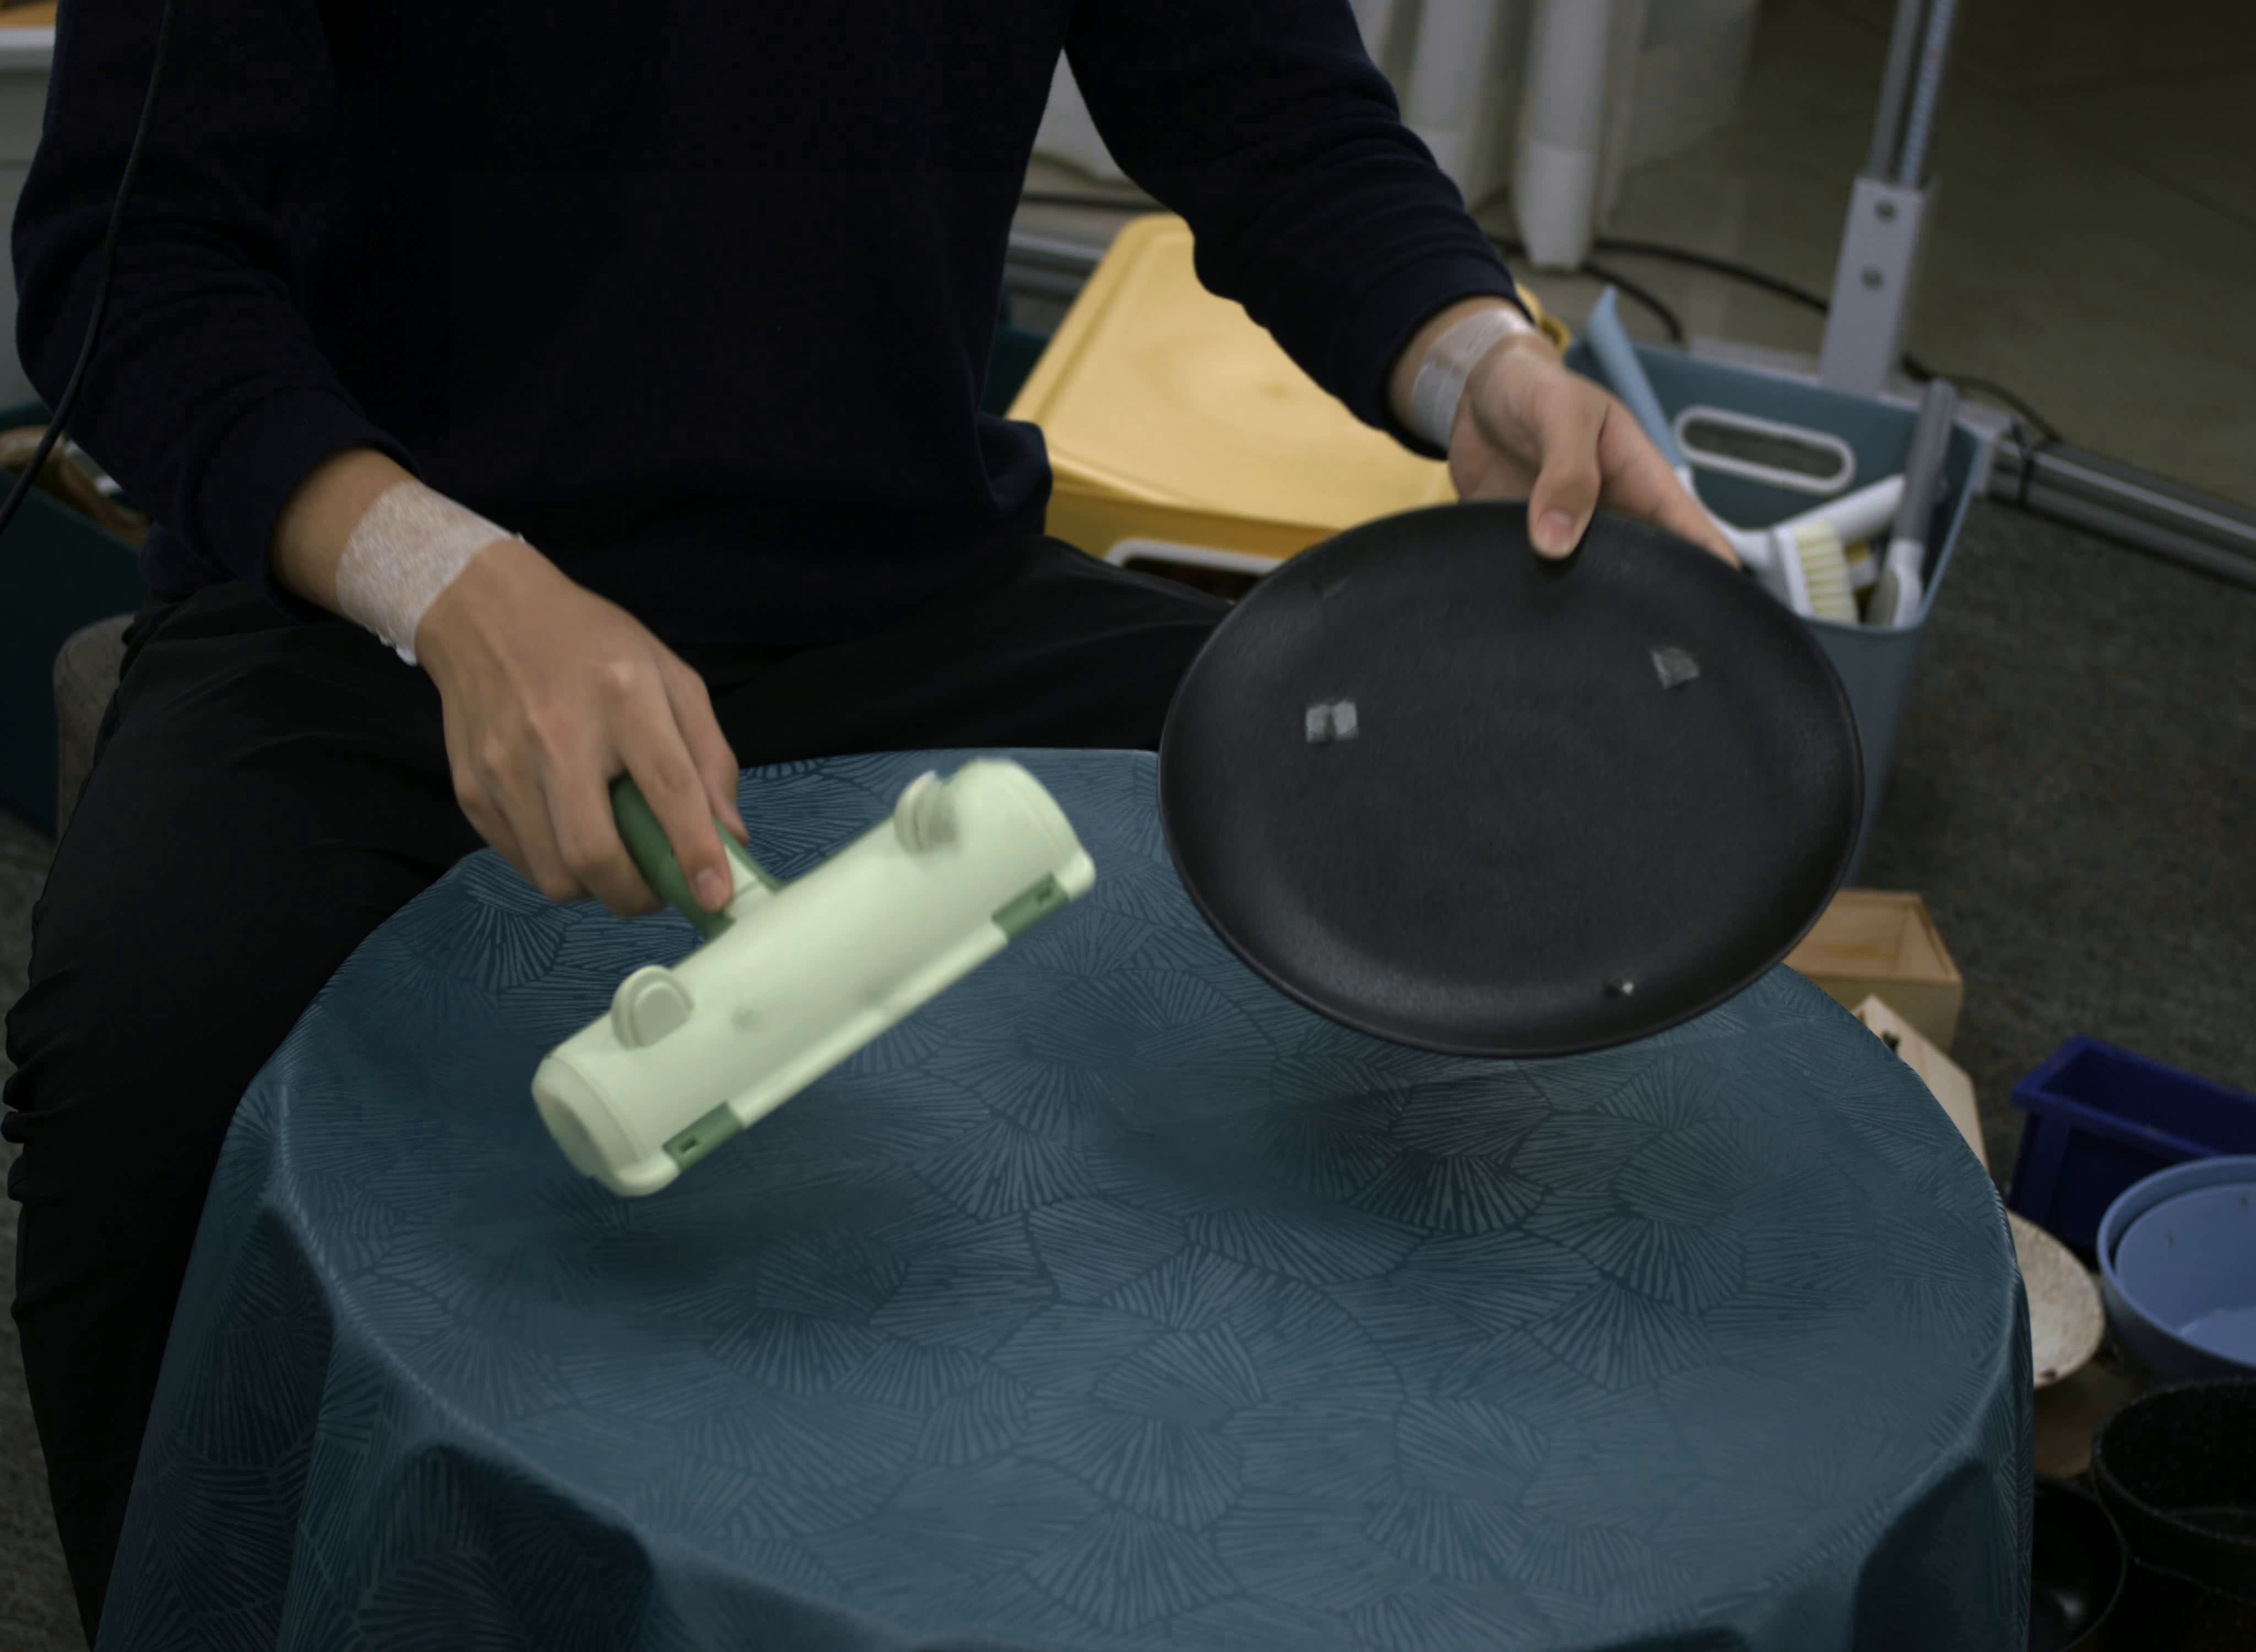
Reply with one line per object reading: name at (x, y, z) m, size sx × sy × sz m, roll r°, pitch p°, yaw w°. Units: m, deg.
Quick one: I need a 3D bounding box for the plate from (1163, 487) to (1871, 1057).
plate at (0.133, -0.018, 1.836) m, size 0.244 × 0.023 × 0.246 m, roll -2°, pitch 53°, yaw 3°

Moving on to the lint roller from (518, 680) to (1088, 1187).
lint roller at (-0.142, 0.002, 1.754) m, size 0.198 × 0.082 × 0.184 m, roll -37°, pitch 69°, yaw -21°
